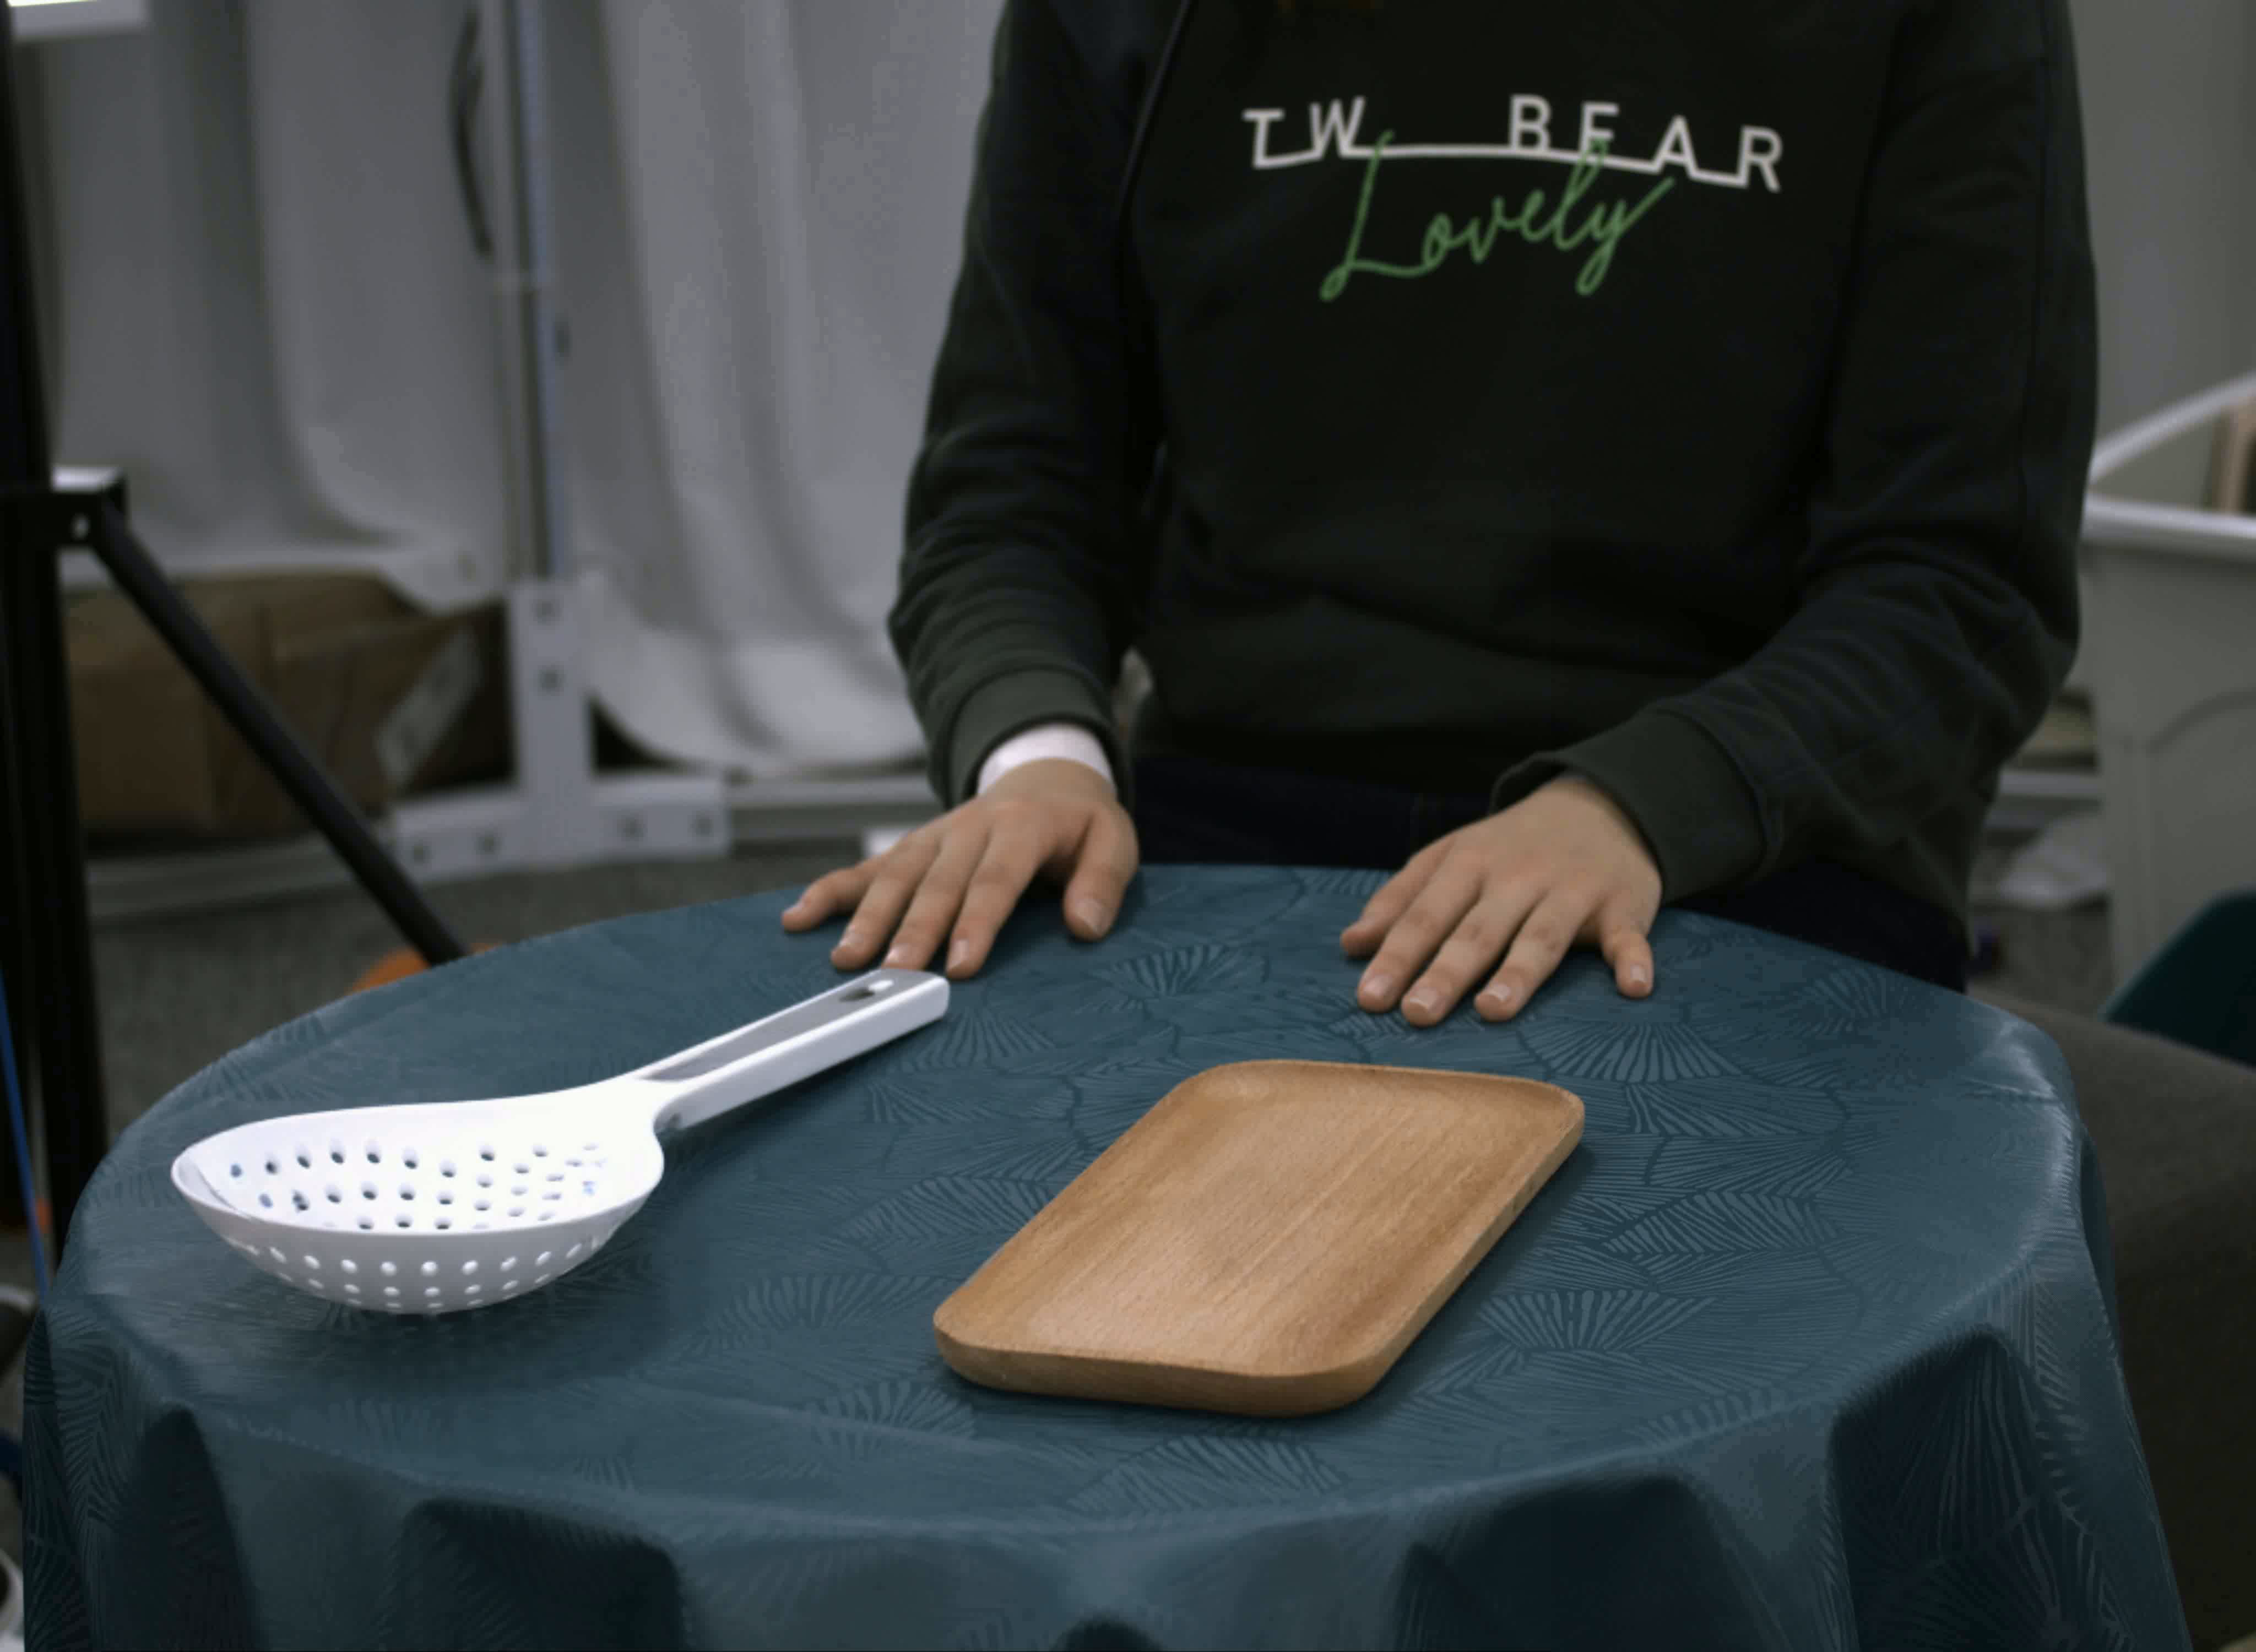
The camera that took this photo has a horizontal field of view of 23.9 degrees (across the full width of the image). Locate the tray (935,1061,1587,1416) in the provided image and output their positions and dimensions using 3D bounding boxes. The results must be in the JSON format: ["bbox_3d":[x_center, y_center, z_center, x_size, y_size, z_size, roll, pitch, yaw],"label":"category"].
[{"bbox_3d":[0.042,0.114,1.501,0.132,0.023,0.247,5,17,20],"label":"tray"}]

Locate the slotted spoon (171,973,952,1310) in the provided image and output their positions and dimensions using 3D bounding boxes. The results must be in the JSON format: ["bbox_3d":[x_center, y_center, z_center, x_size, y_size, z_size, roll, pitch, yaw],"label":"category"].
[{"bbox_3d":[-0.149,0.084,1.584,0.138,0.046,0.344,8,18,27],"label":"slotted spoon"}]
